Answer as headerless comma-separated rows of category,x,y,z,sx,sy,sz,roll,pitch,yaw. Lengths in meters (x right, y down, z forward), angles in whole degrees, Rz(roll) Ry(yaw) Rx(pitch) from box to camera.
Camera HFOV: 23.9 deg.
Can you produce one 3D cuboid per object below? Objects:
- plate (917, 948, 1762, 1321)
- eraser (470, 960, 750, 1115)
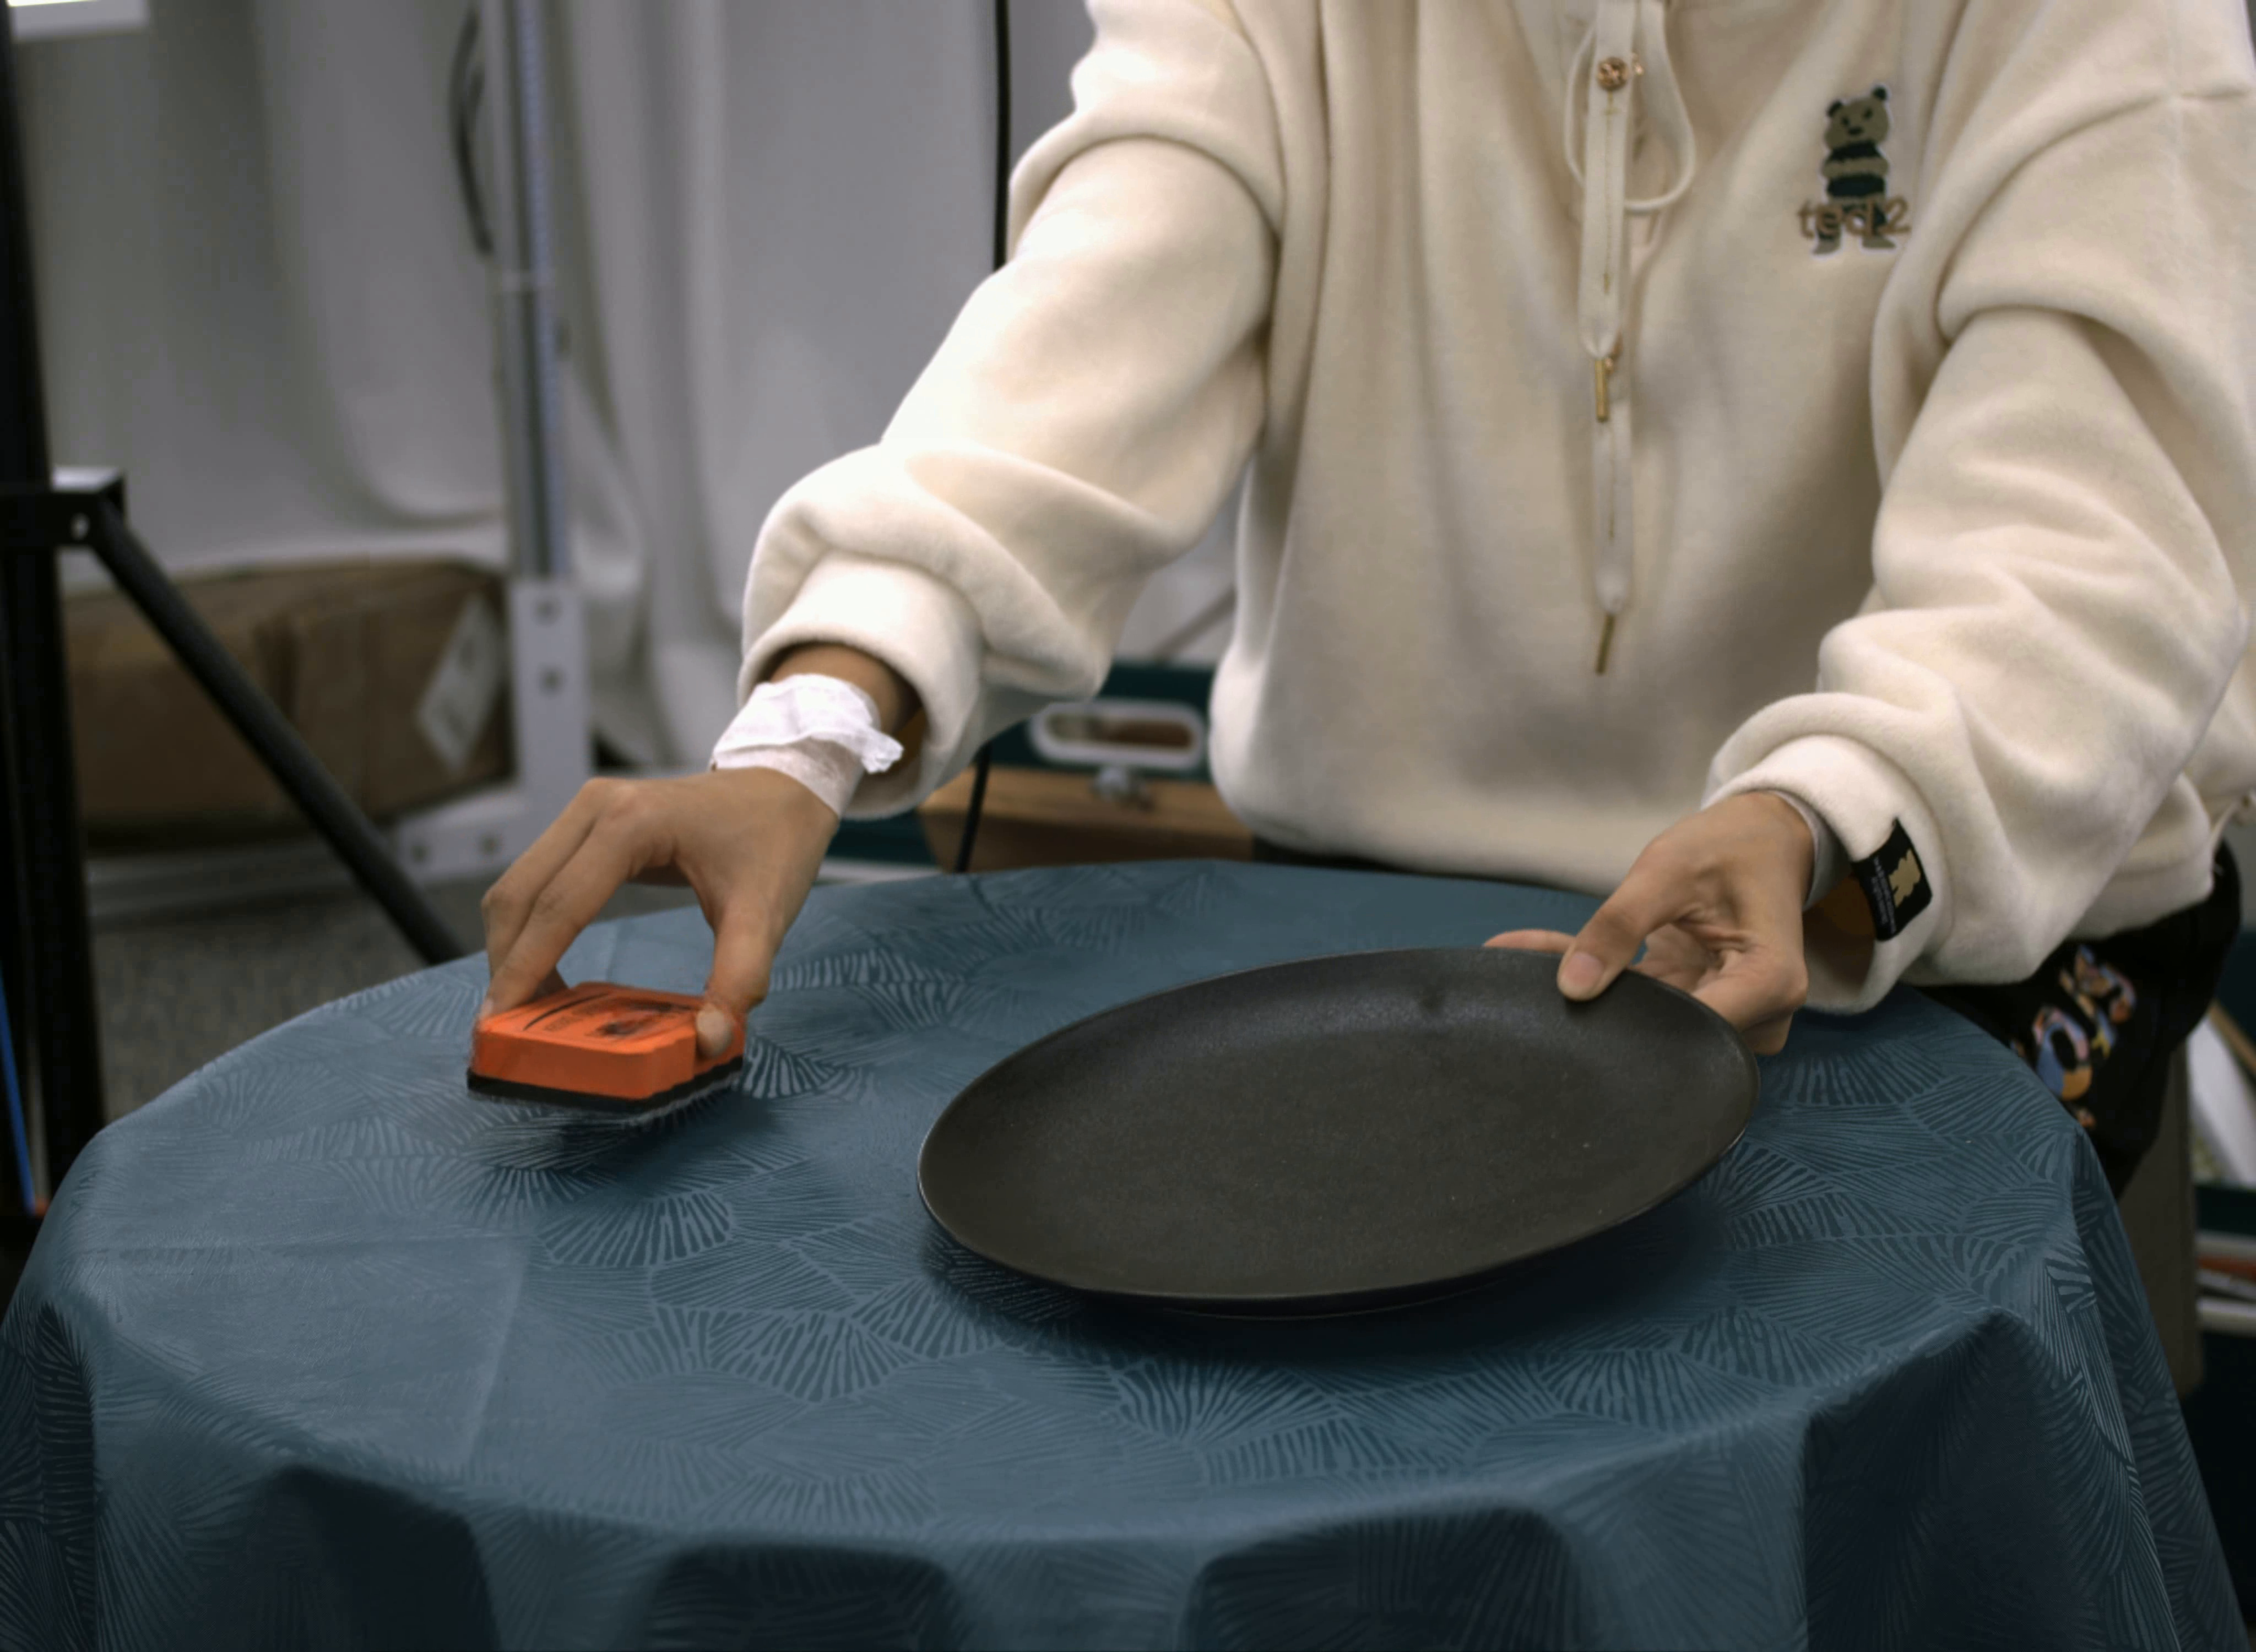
plate,0.061,0.092,1.521,0.243,0.023,0.246,-8,20,2
eraser,-0.158,0.064,1.633,0.059,0.023,0.107,7,11,15
